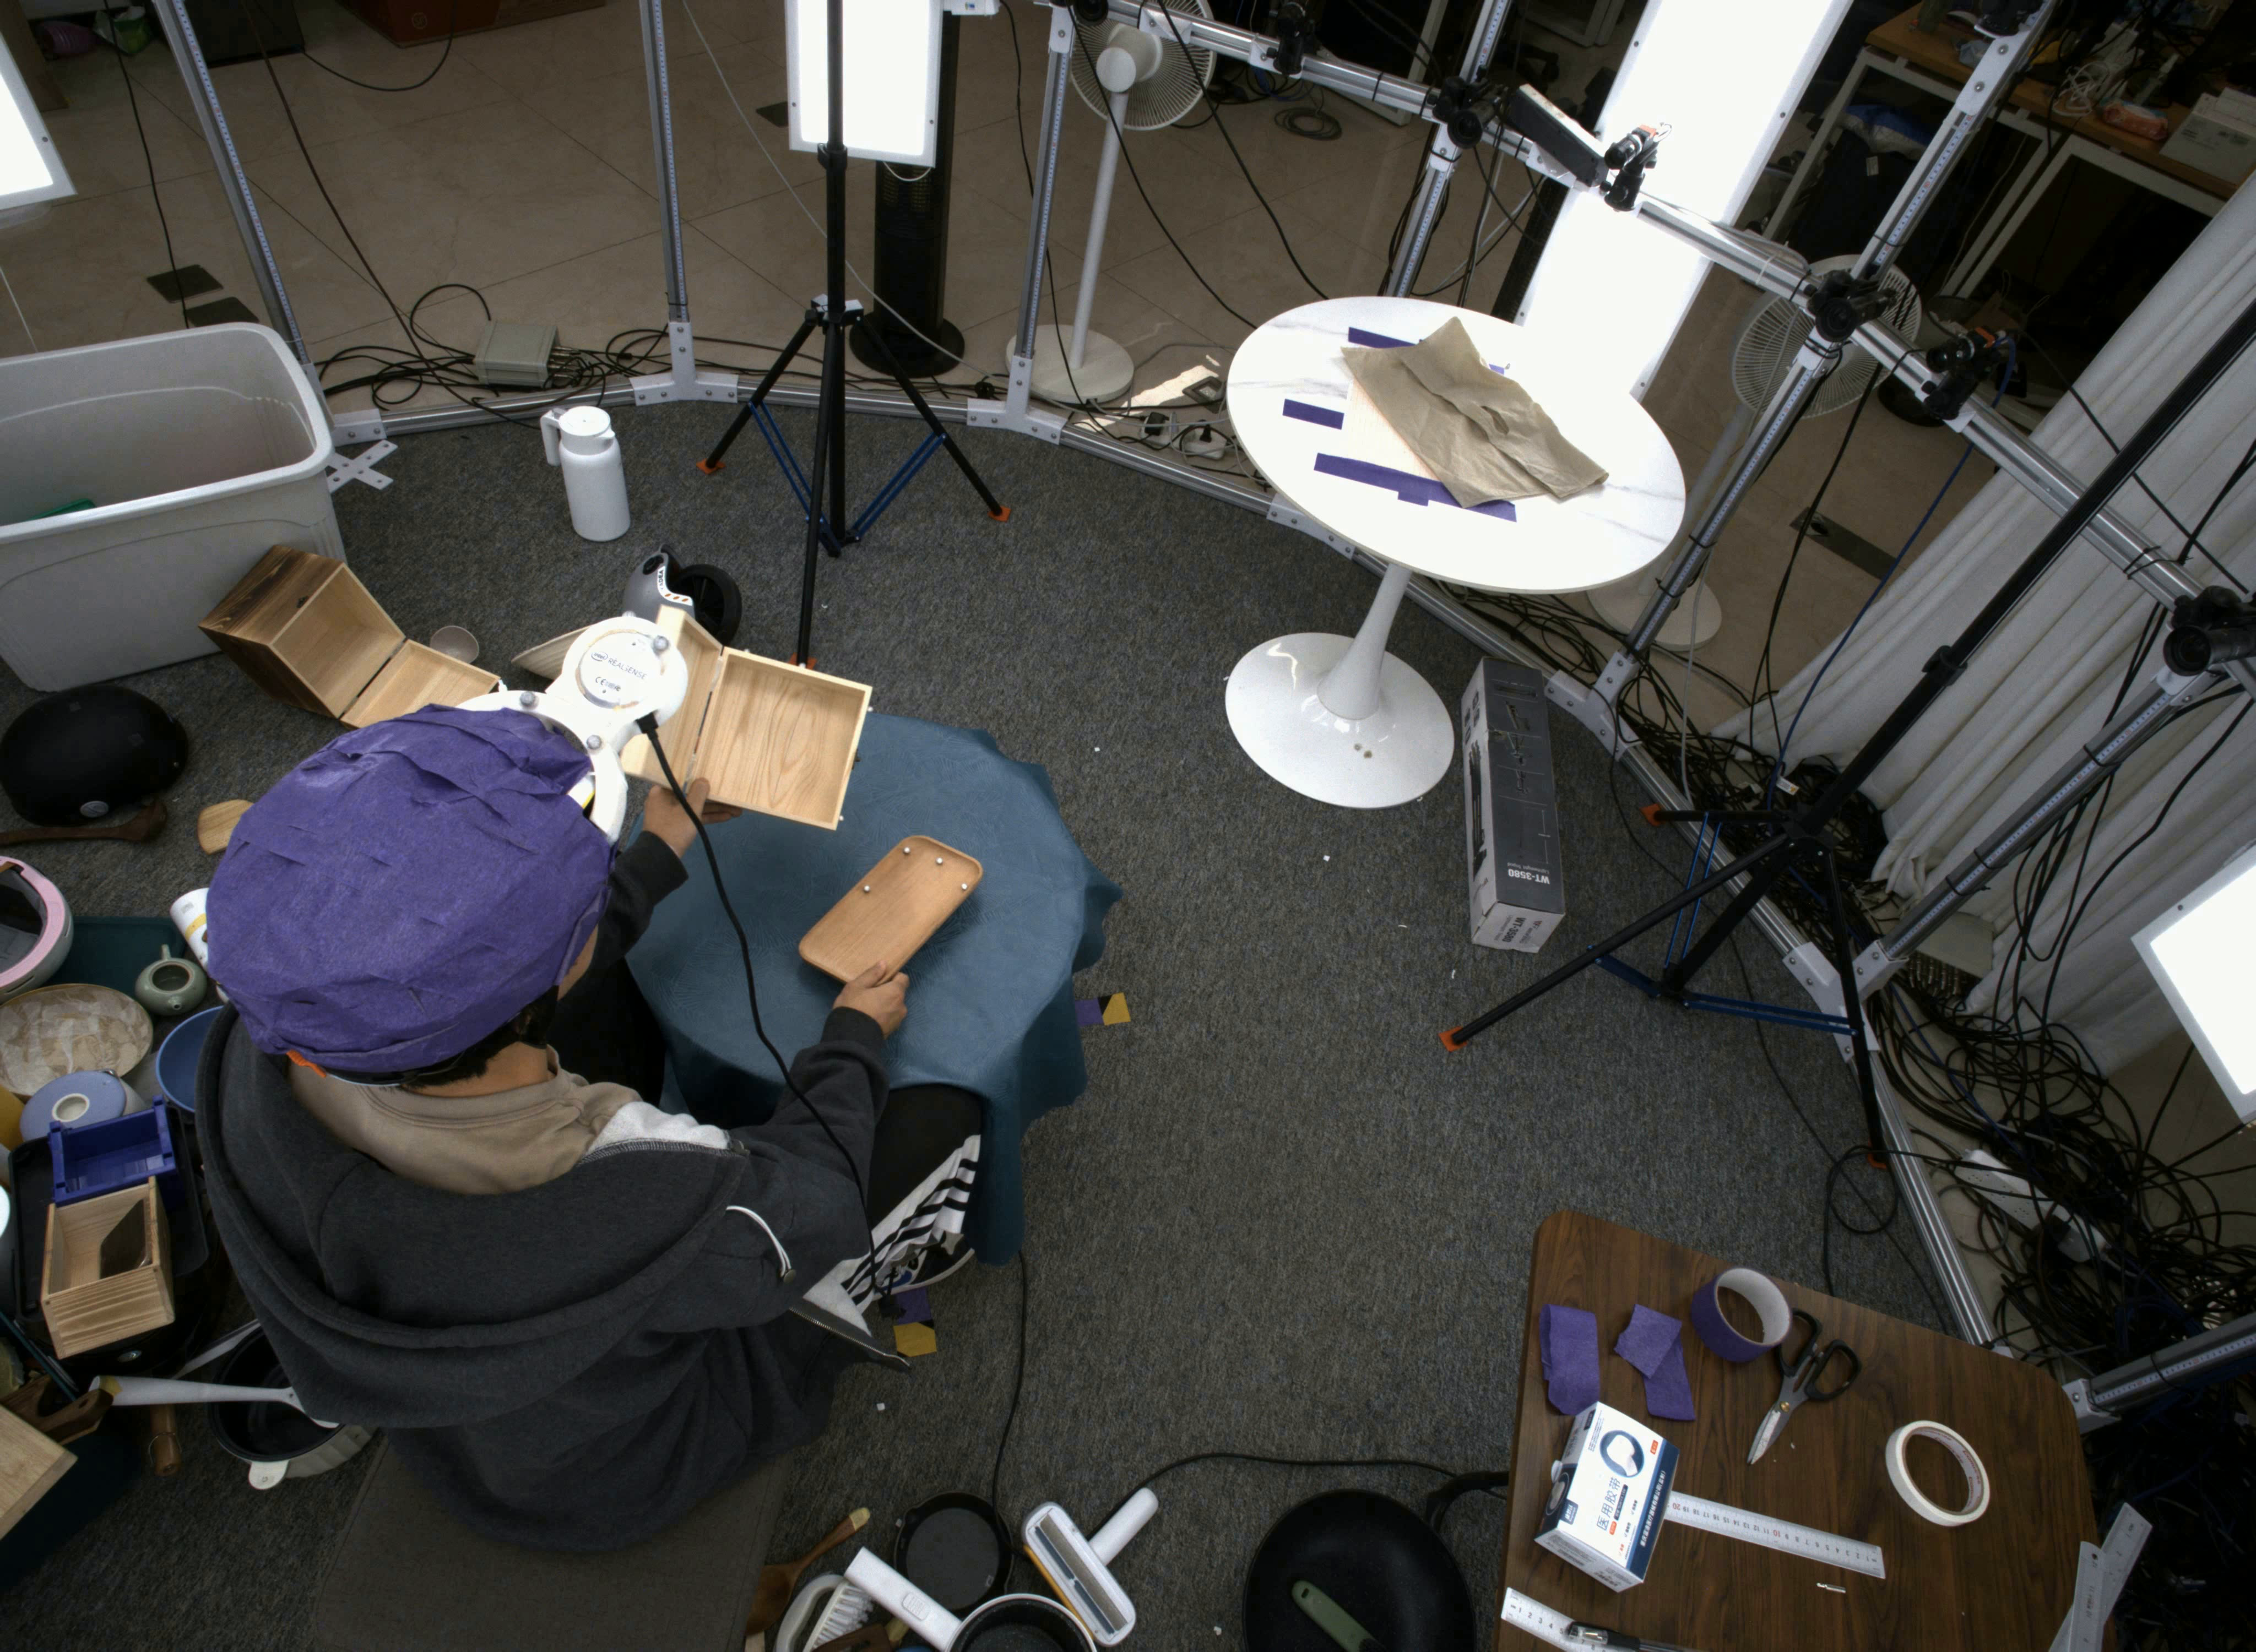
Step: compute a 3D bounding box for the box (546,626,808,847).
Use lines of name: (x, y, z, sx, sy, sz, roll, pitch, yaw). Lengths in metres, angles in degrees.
box: (-0.499, -0.094, 1.445, 0.267, 0.249, 0.183, 11, 86, -16)

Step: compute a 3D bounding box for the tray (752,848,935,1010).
tray: (-0.349, 0.123, 1.613, 0.127, 0.023, 0.249, 20, 47, 18)
